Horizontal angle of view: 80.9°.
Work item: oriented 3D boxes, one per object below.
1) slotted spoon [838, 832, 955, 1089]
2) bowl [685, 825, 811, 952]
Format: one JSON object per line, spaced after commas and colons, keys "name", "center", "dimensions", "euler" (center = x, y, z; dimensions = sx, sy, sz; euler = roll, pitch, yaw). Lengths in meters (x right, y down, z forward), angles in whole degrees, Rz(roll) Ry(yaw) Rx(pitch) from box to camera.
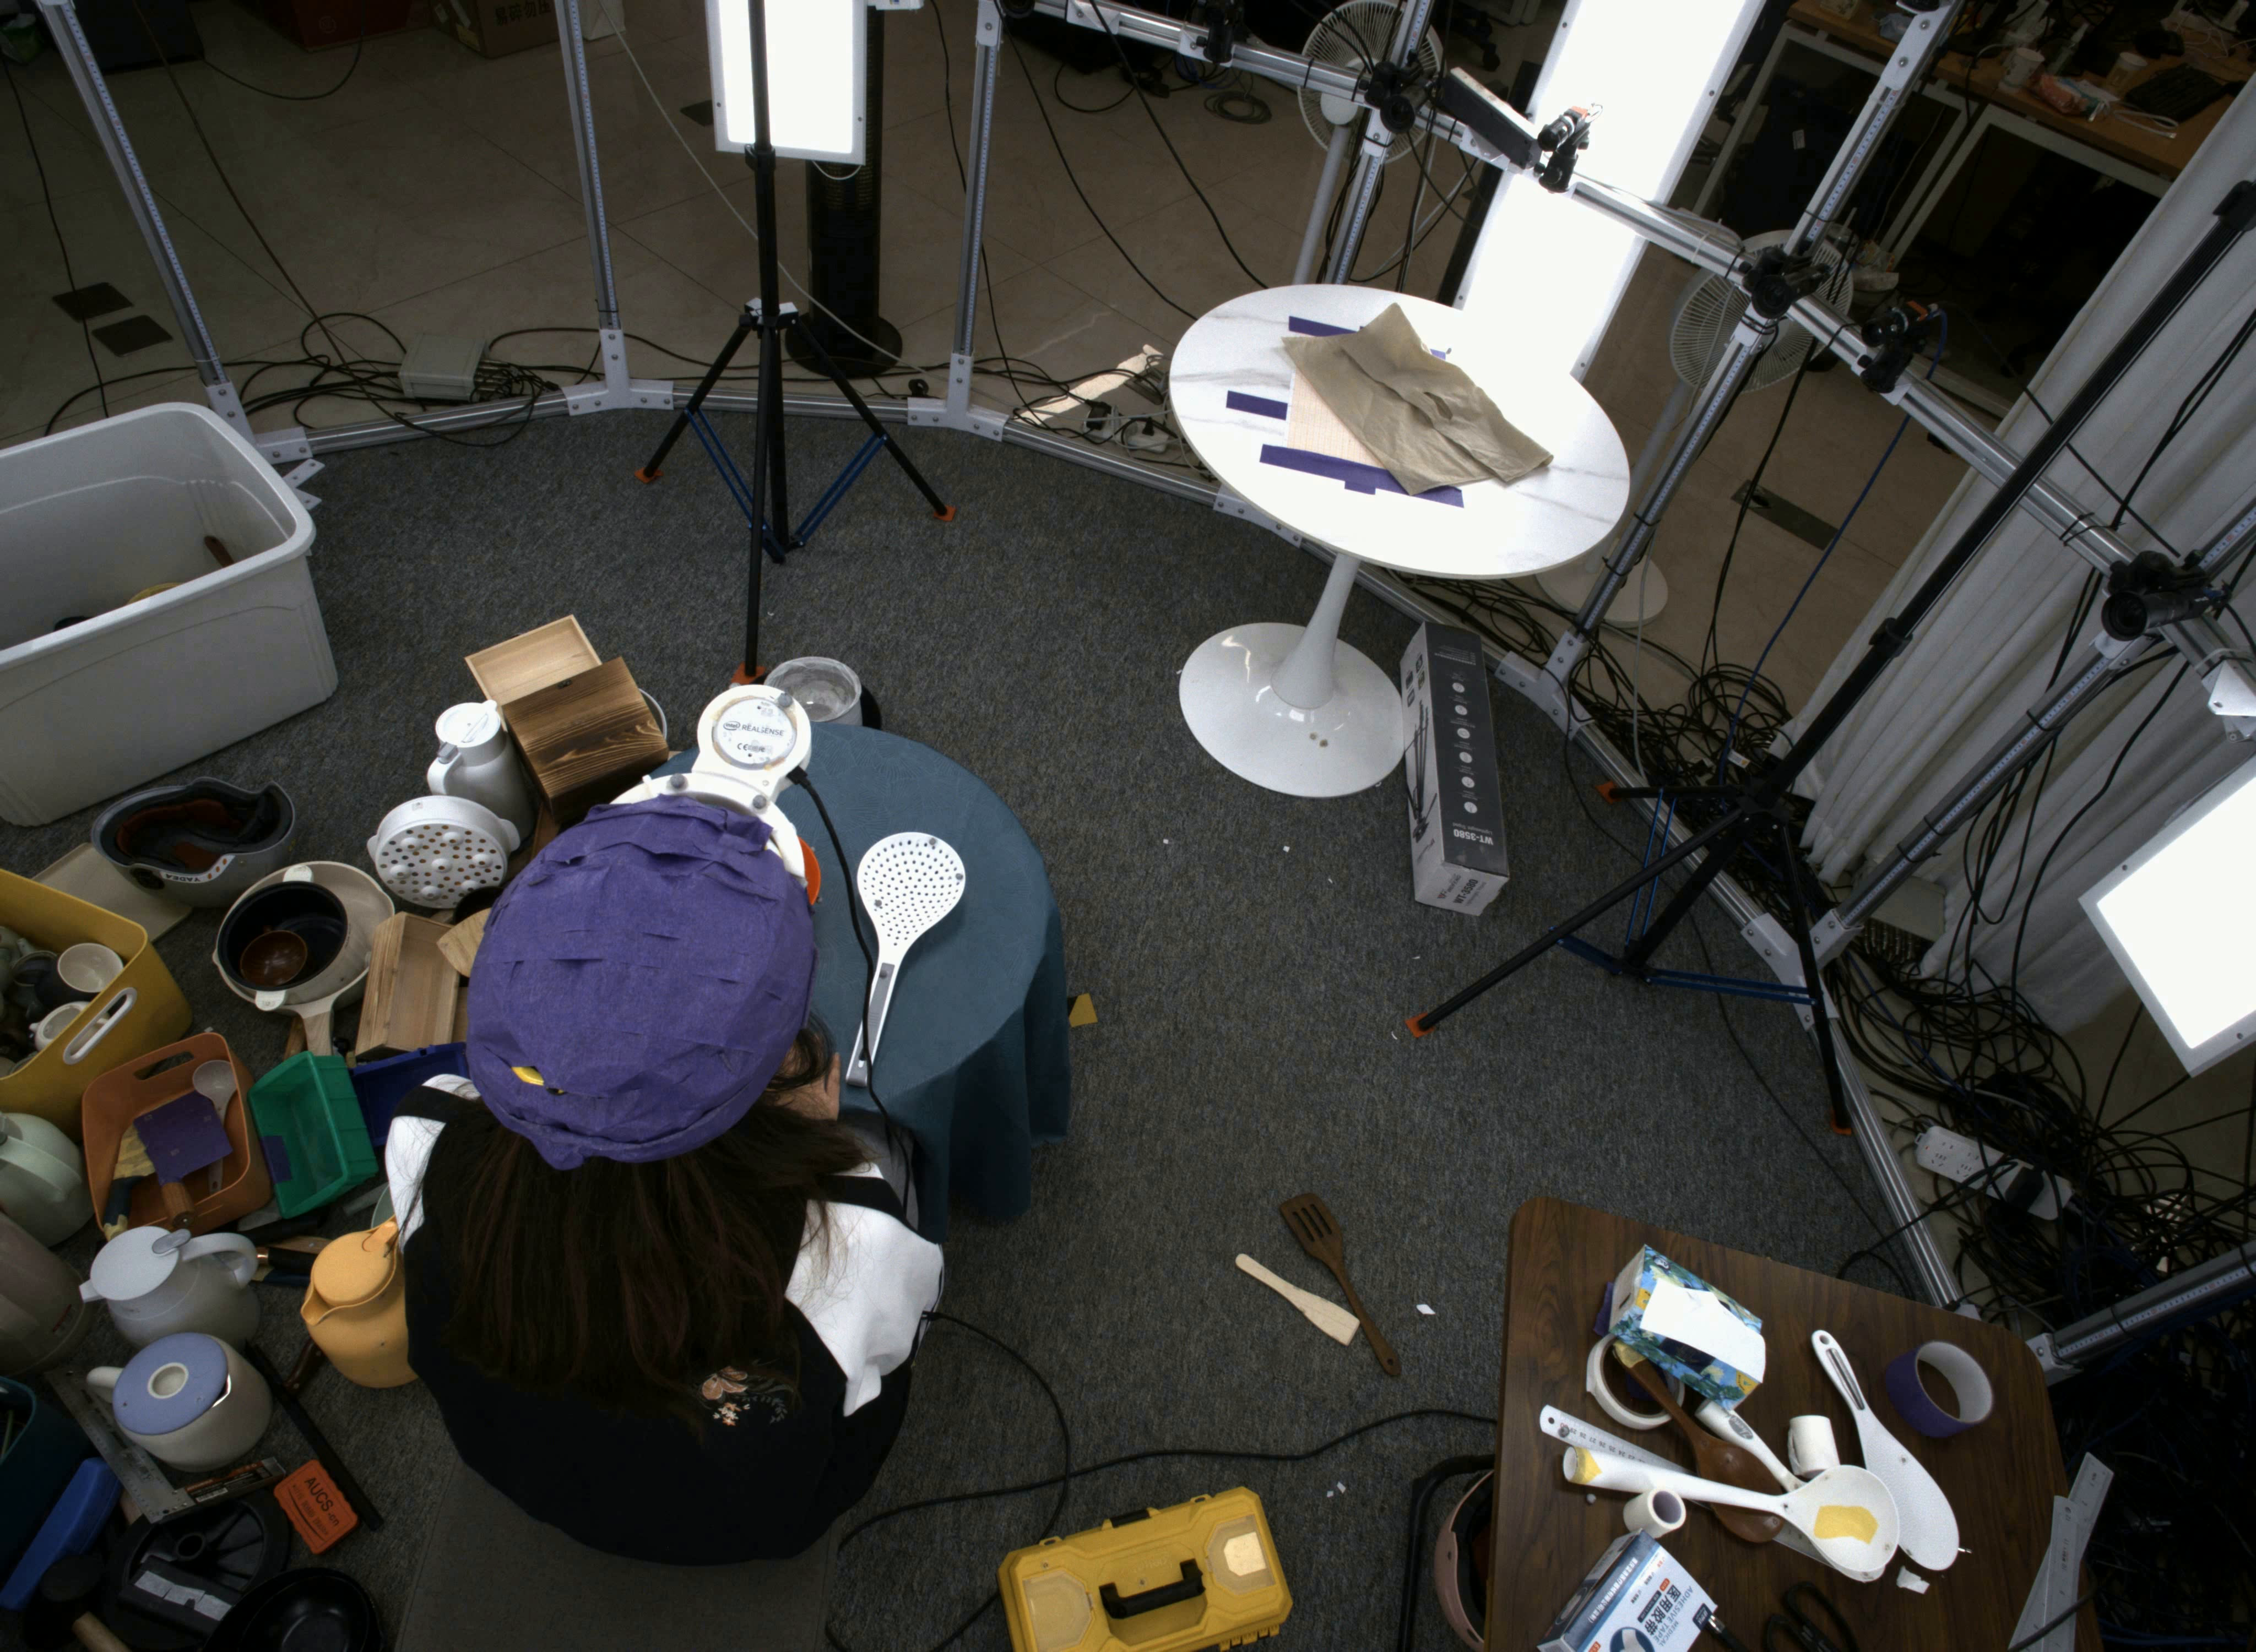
{"name": "slotted spoon", "center": [-0.302, 0.157, 1.604], "dimensions": [0.135, 0.047, 0.344], "euler": [11, 52, -4]}
{"name": "bowl", "center": [-0.462, 0.086, 1.579], "dimensions": [0.148, 0.106, 0.145], "euler": [9, 50, -9]}
